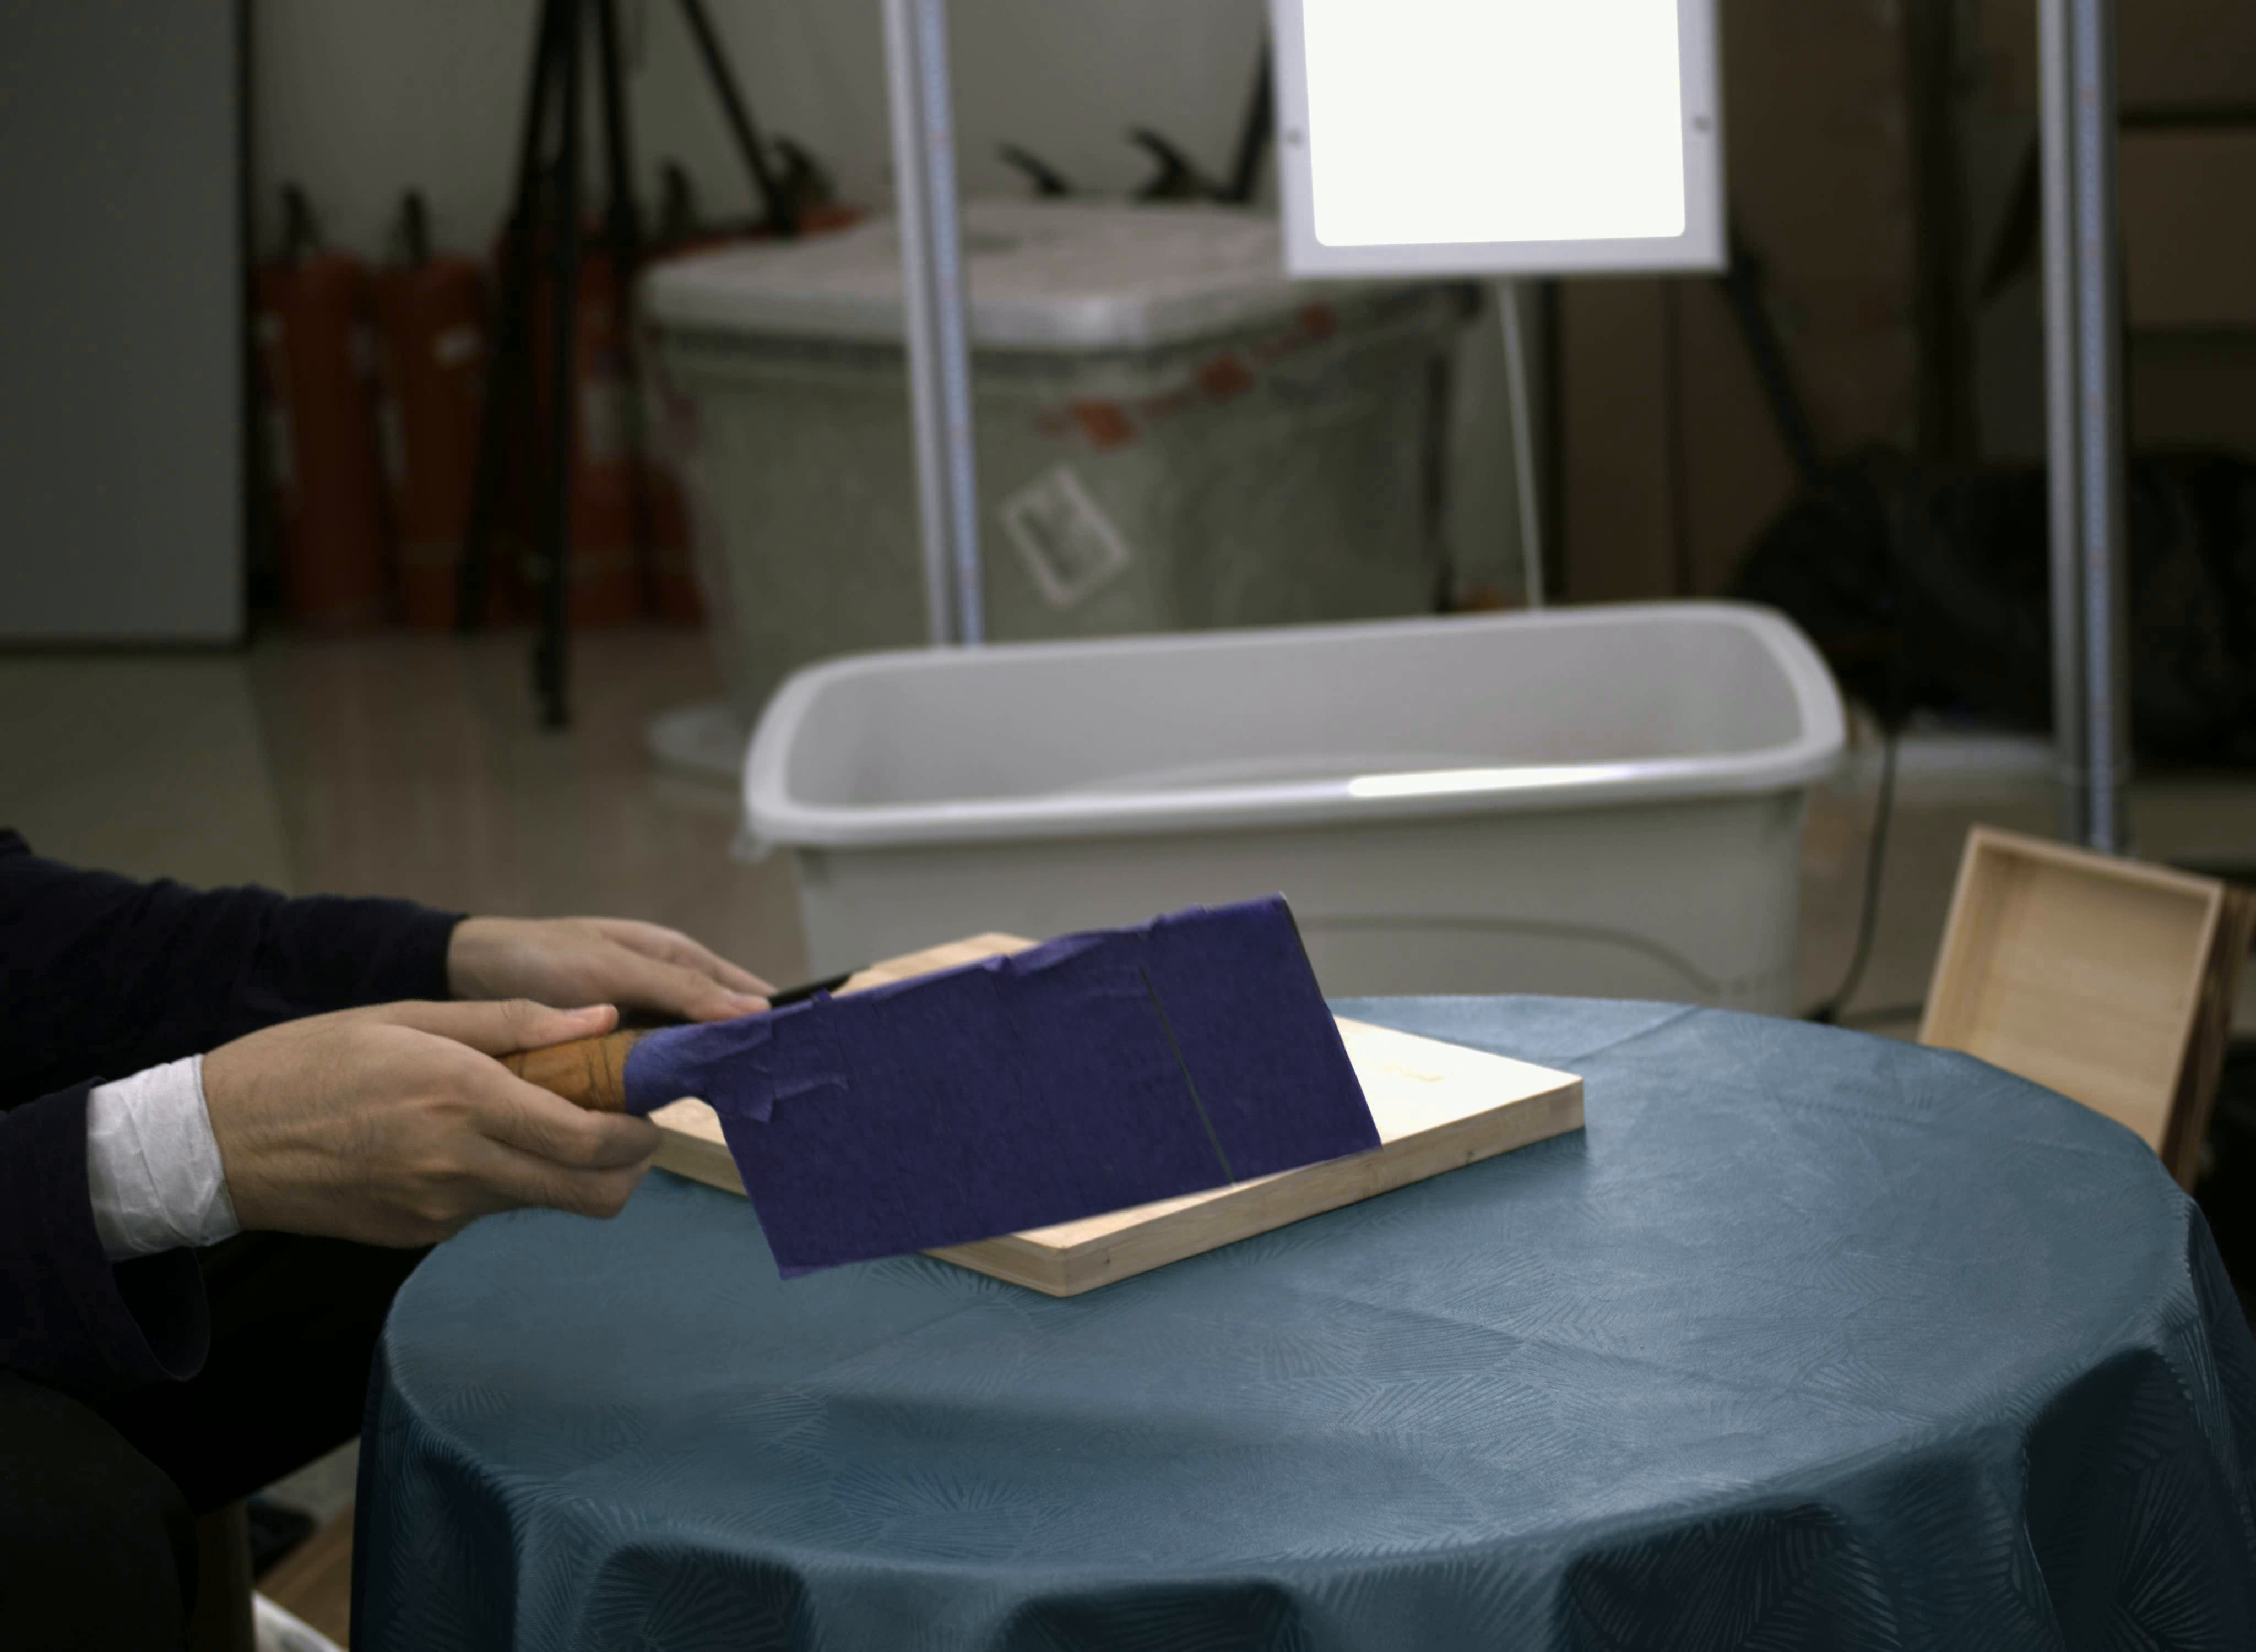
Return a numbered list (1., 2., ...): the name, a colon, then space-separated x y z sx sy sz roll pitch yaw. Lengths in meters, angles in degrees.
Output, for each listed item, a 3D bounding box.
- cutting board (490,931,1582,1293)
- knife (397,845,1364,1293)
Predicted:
1. cutting board: -0.039 0.099 1.999 0.244 0.023 0.356 -15 17 -37
2. knife: -0.080 0.093 1.702 0.320 0.104 0.031 -16 6 26
